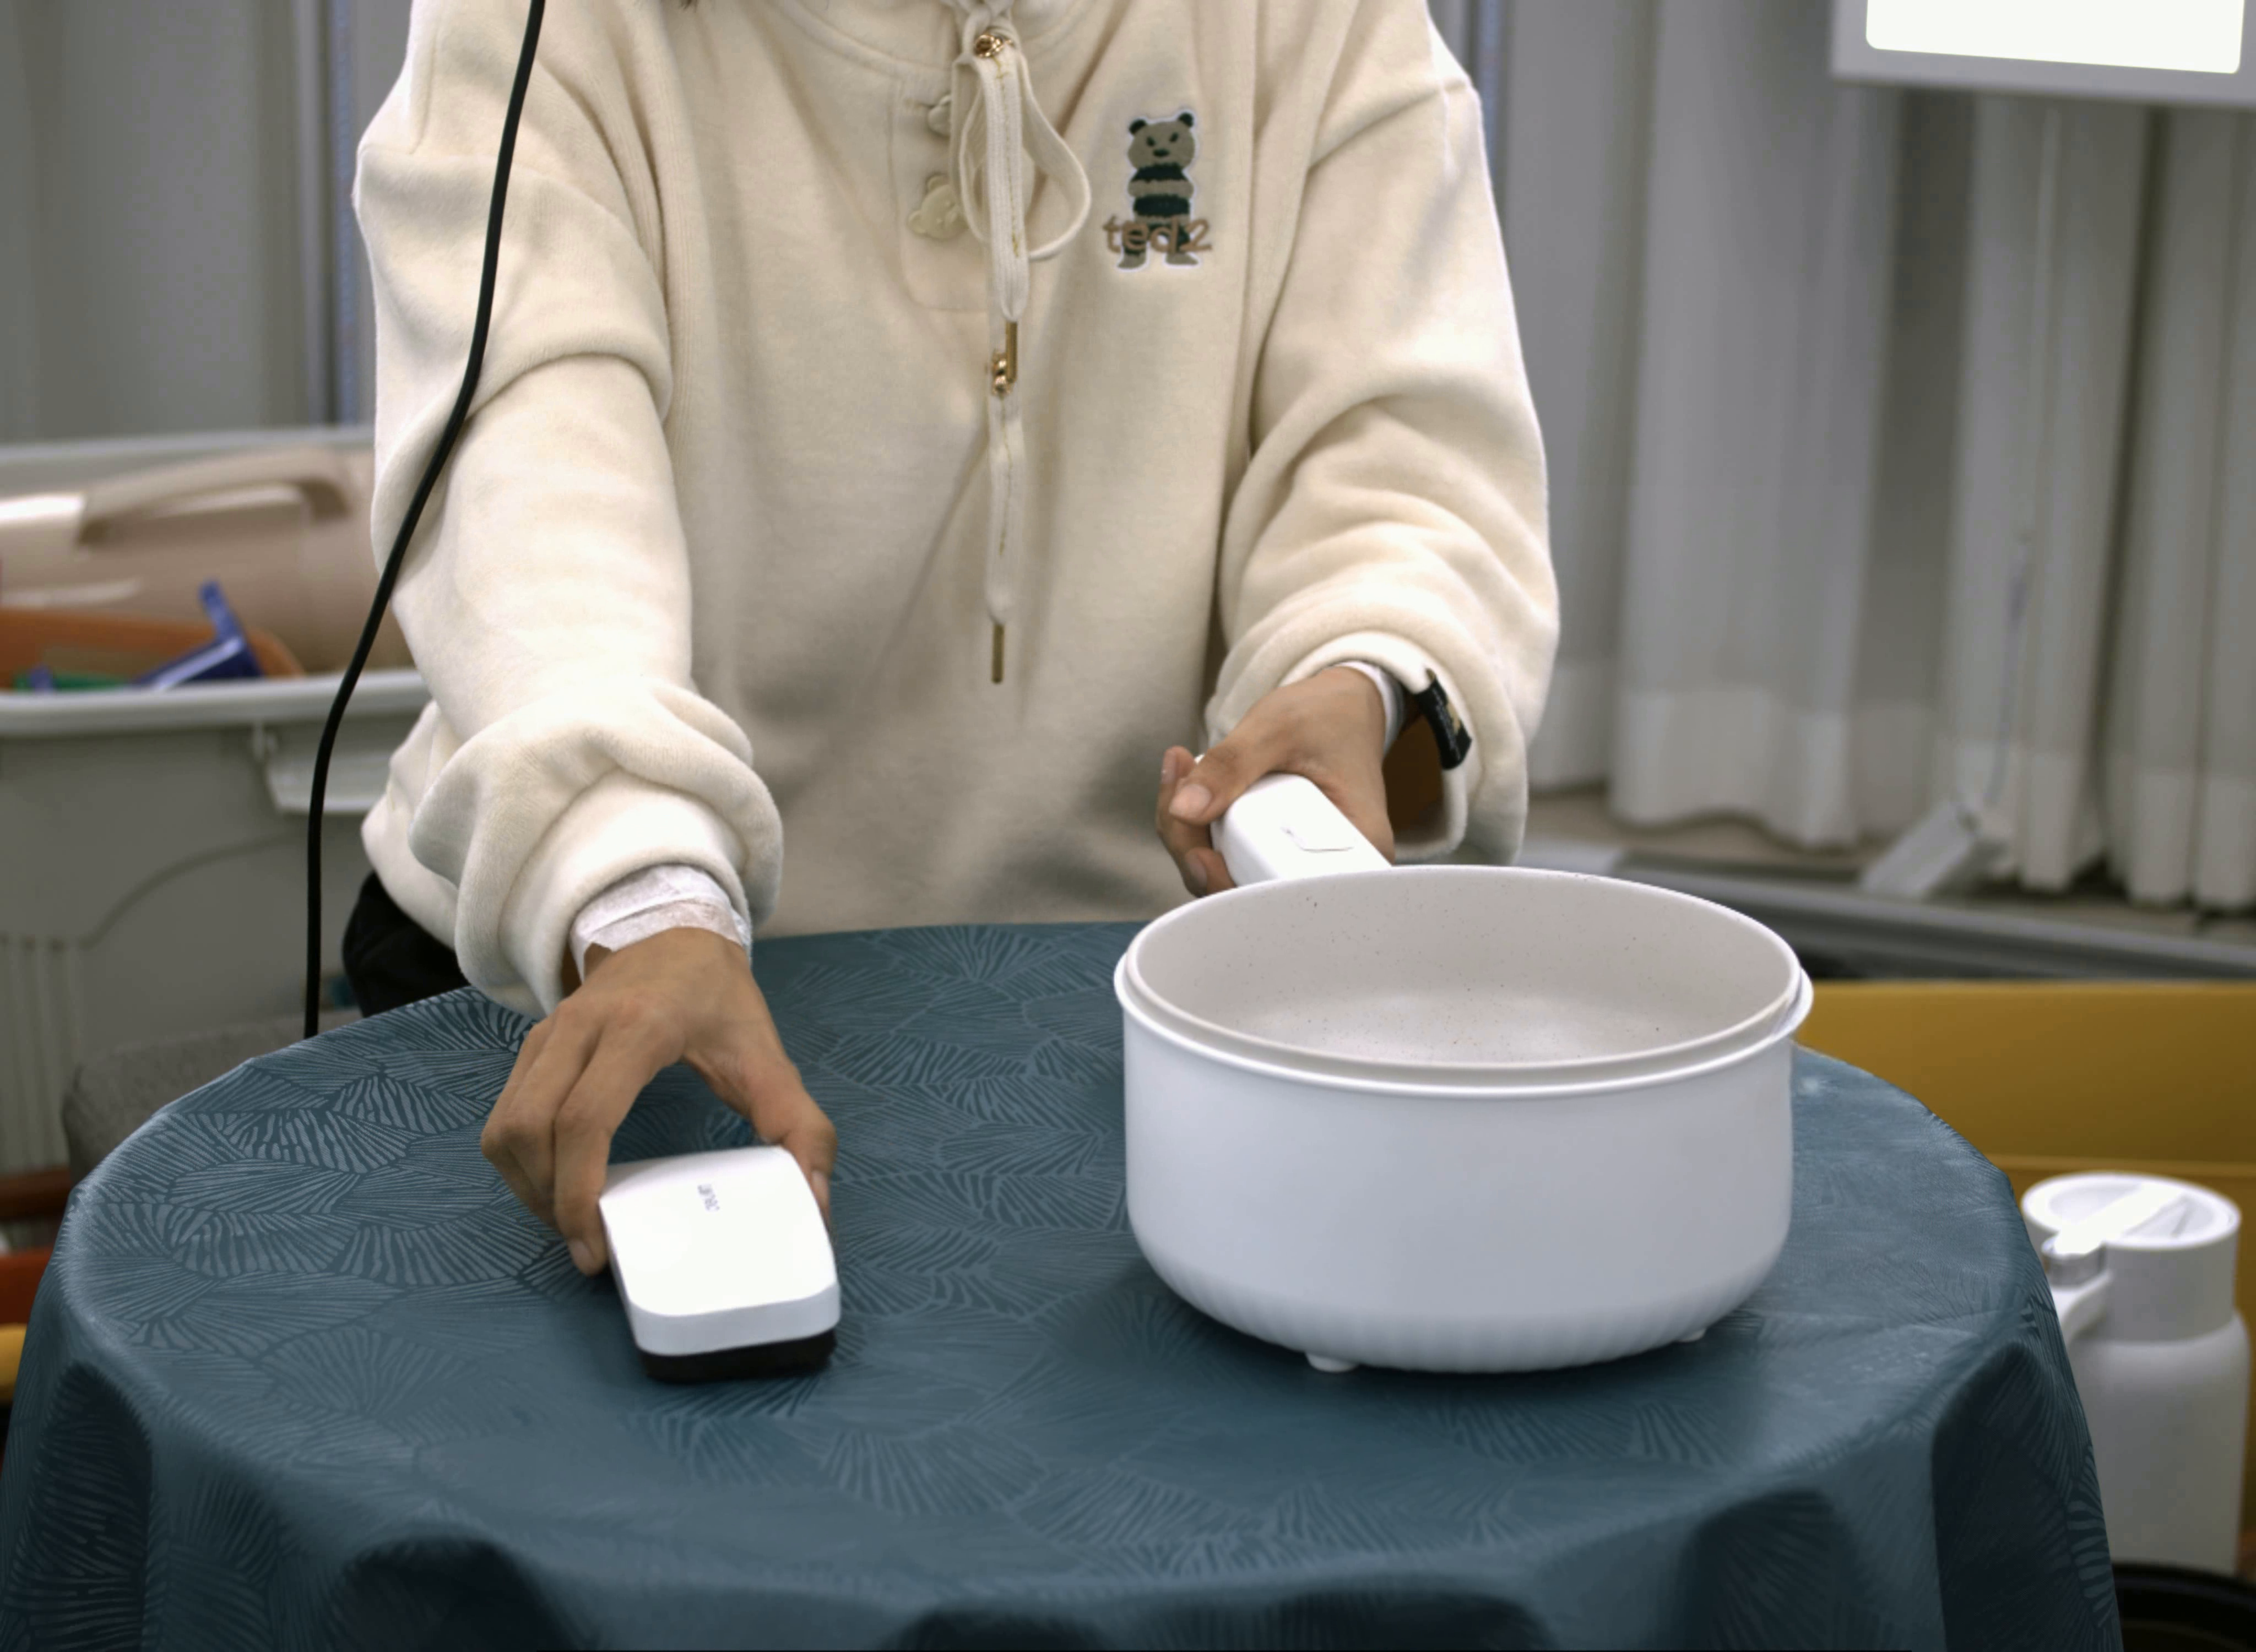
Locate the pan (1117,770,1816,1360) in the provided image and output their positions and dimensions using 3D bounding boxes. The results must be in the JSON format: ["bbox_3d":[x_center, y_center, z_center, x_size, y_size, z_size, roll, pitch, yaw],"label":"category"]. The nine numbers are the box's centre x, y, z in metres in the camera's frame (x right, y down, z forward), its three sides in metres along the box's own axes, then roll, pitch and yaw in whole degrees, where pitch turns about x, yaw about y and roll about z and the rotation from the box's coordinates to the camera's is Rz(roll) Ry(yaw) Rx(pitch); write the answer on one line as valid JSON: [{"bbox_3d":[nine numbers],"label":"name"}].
[{"bbox_3d":[0.078,0.067,1.597,0.201,0.103,0.351,-2,14,-14],"label":"pan"}]

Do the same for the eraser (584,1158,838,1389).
[{"bbox_3d":[-0.120,0.124,1.515,0.063,0.035,0.130,-3,16,-11],"label":"eraser"}]
